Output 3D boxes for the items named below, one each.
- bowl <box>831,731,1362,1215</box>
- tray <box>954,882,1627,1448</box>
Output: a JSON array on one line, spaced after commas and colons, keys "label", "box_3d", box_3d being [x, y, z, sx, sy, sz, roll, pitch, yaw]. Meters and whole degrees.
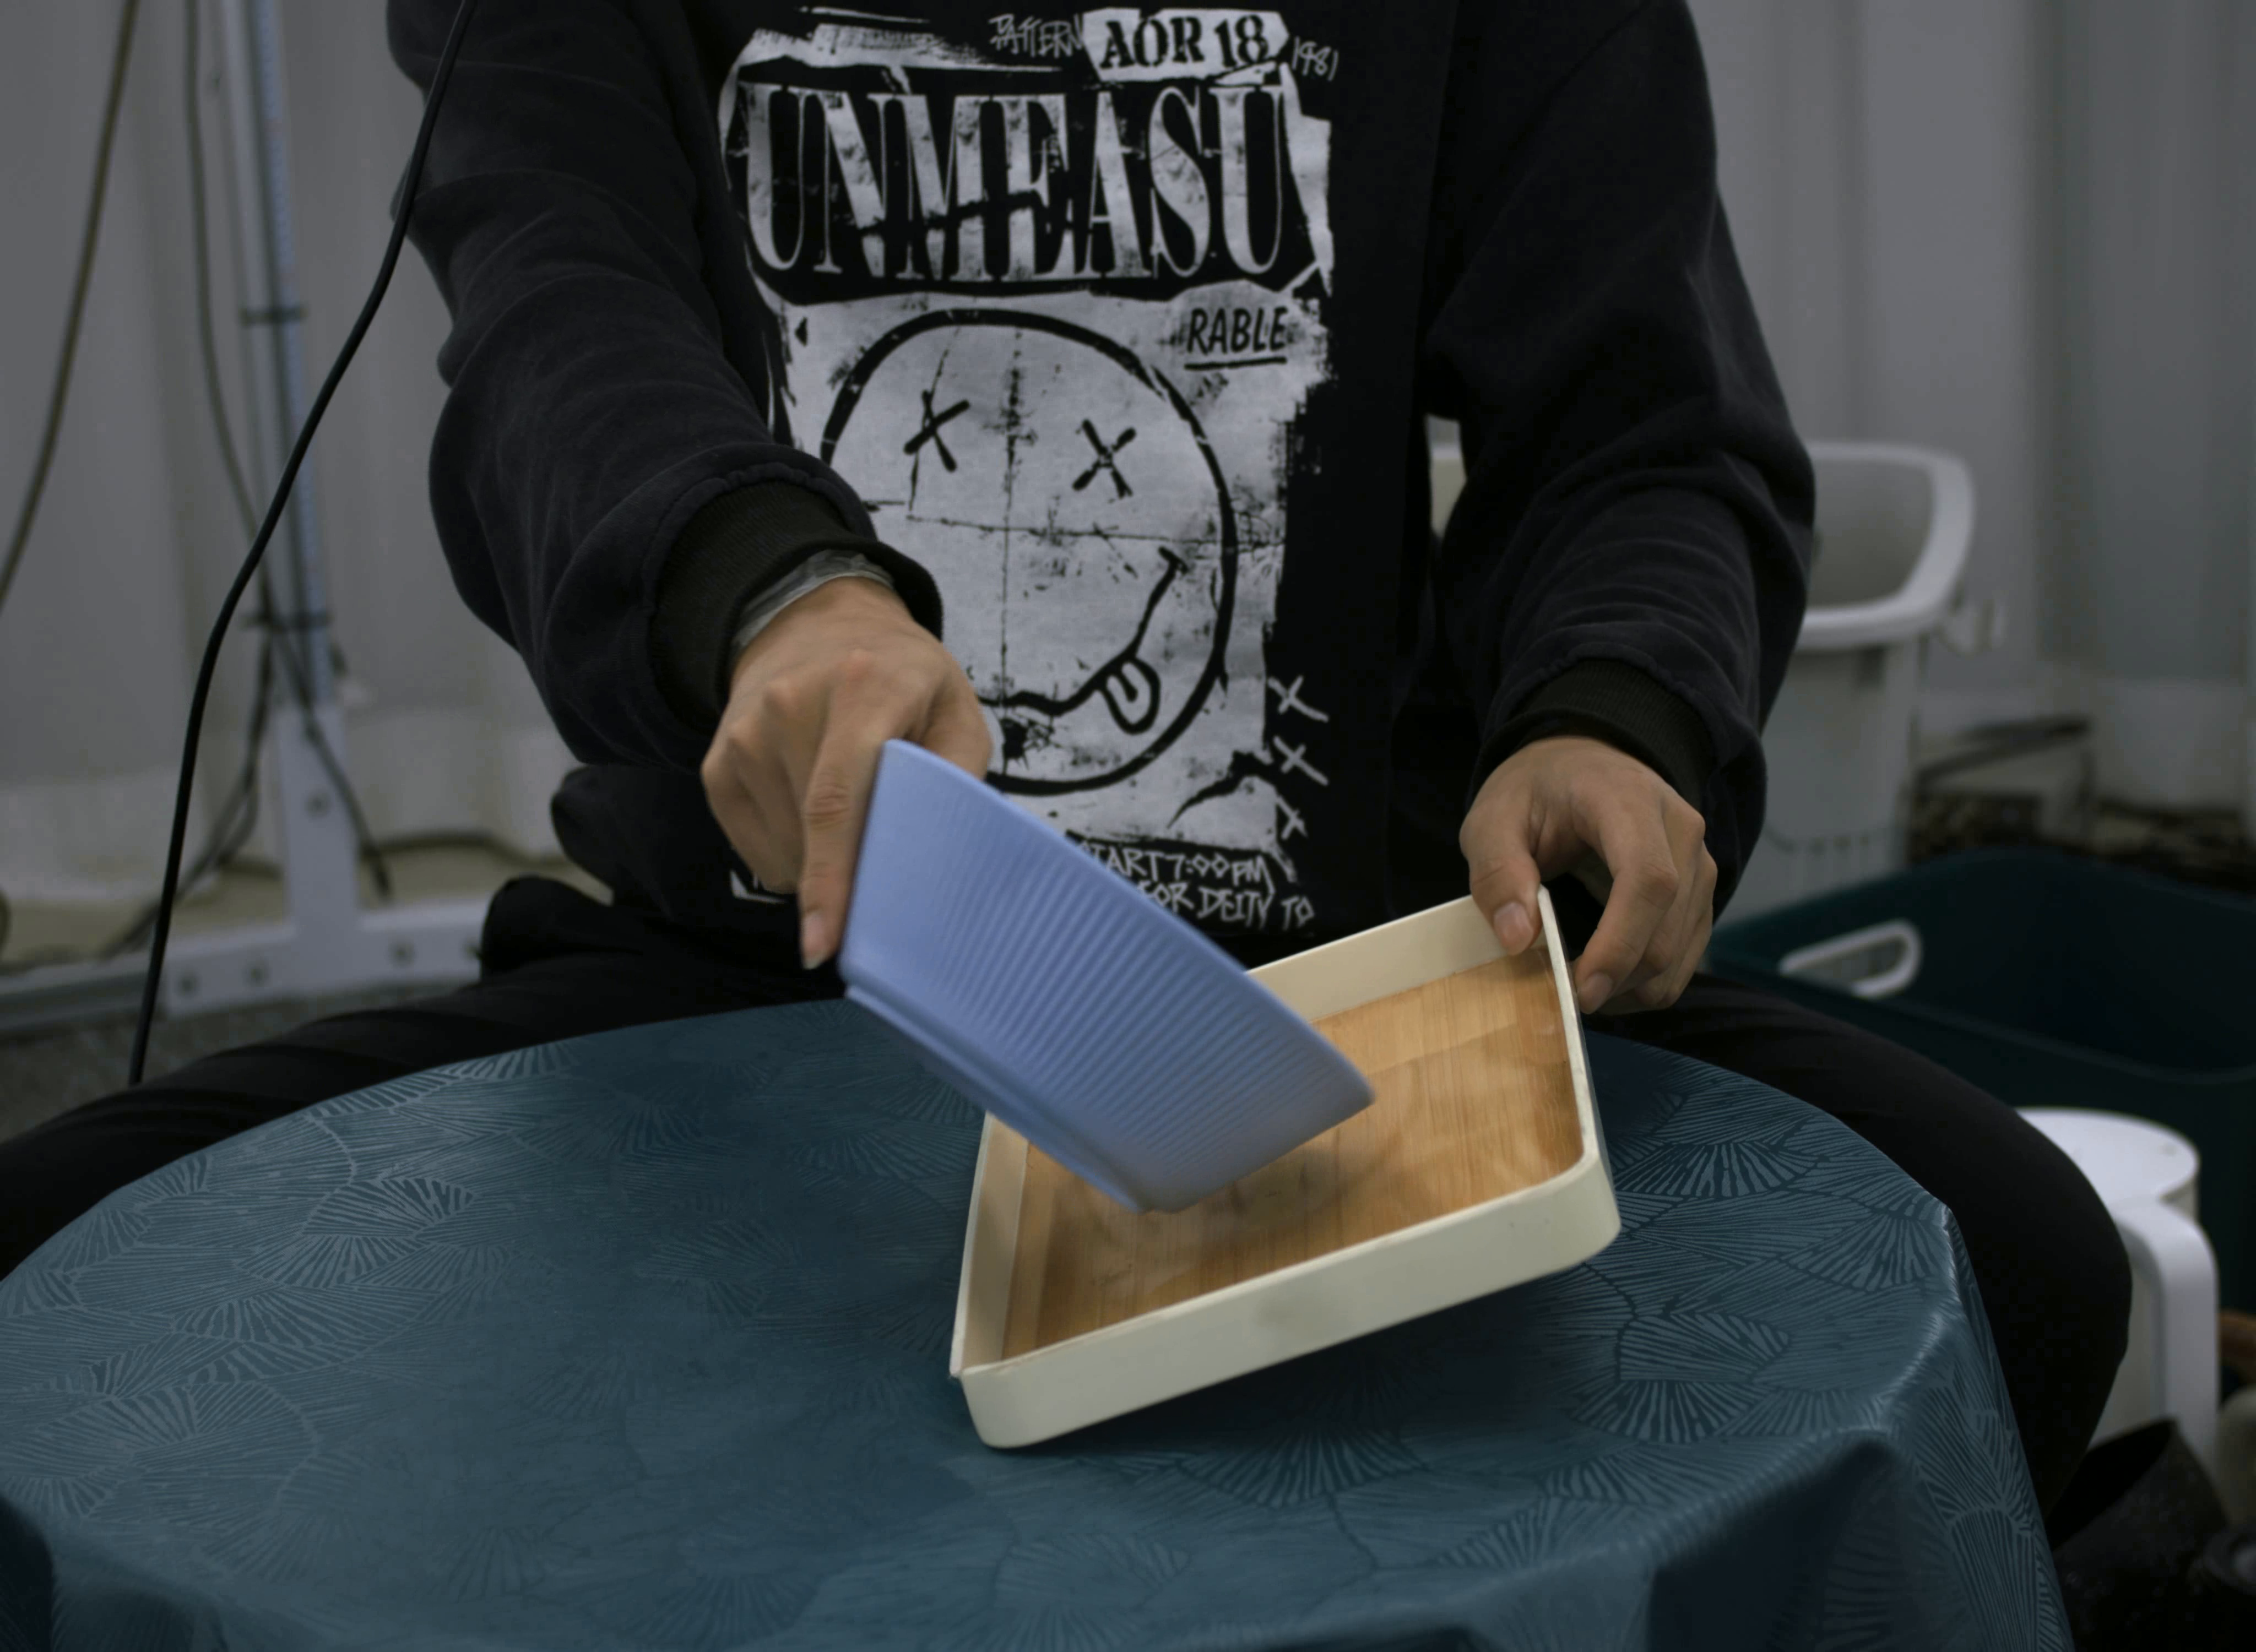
[{"label": "bowl", "box_3d": [-0.021, 0.052, 1.578, 0.176, 0.070, 0.175, 38, -6, 4]}, {"label": "tray", "box_3d": [0.047, 0.096, 1.628, 0.191, 0.027, 0.302, -19, 14, 6]}]
